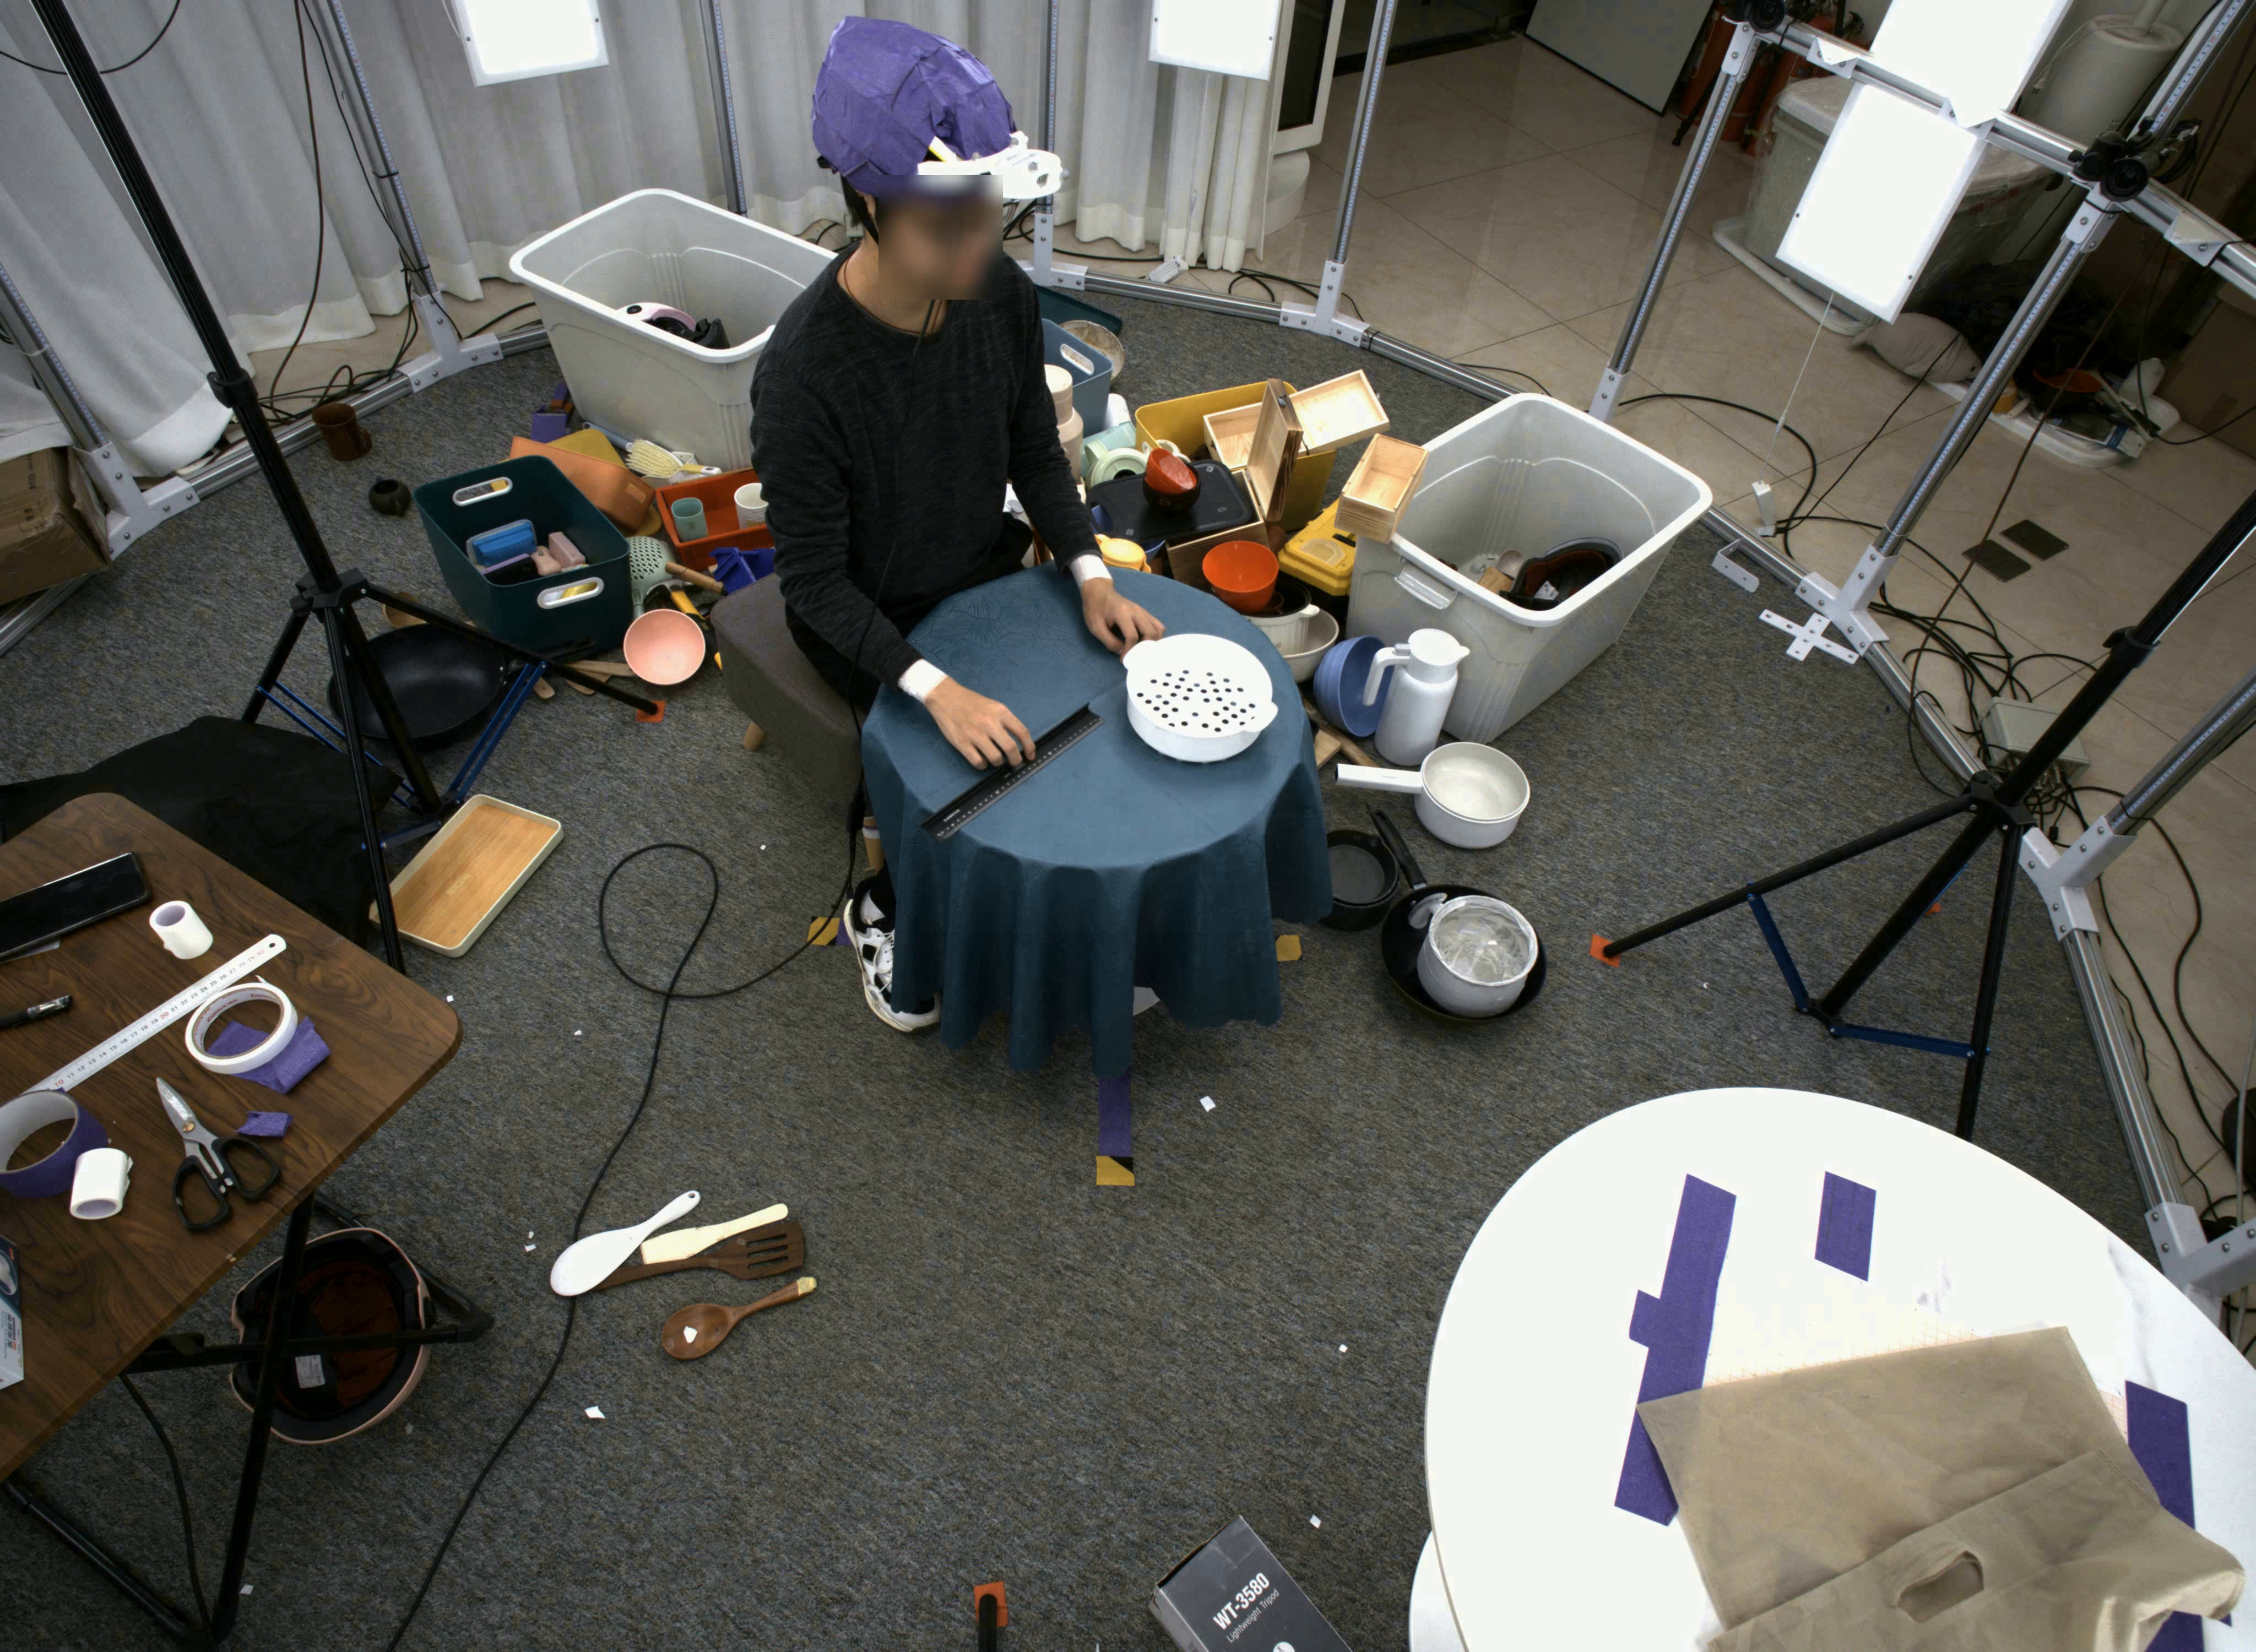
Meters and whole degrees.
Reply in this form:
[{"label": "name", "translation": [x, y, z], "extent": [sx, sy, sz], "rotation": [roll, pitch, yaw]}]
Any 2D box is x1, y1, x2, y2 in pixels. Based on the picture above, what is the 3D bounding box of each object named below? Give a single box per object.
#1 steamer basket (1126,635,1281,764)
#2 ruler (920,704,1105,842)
[{"label": "steamer basket", "translation": [0.101, -0.175, 1.785], "extent": [0.233, 0.067, 0.205], "rotation": [30, 54, 18]}, {"label": "ruler", "translation": [-0.149, -0.076, 1.716], "extent": [0.040, 0.017, 0.316], "rotation": [38, 56, 22]}]
